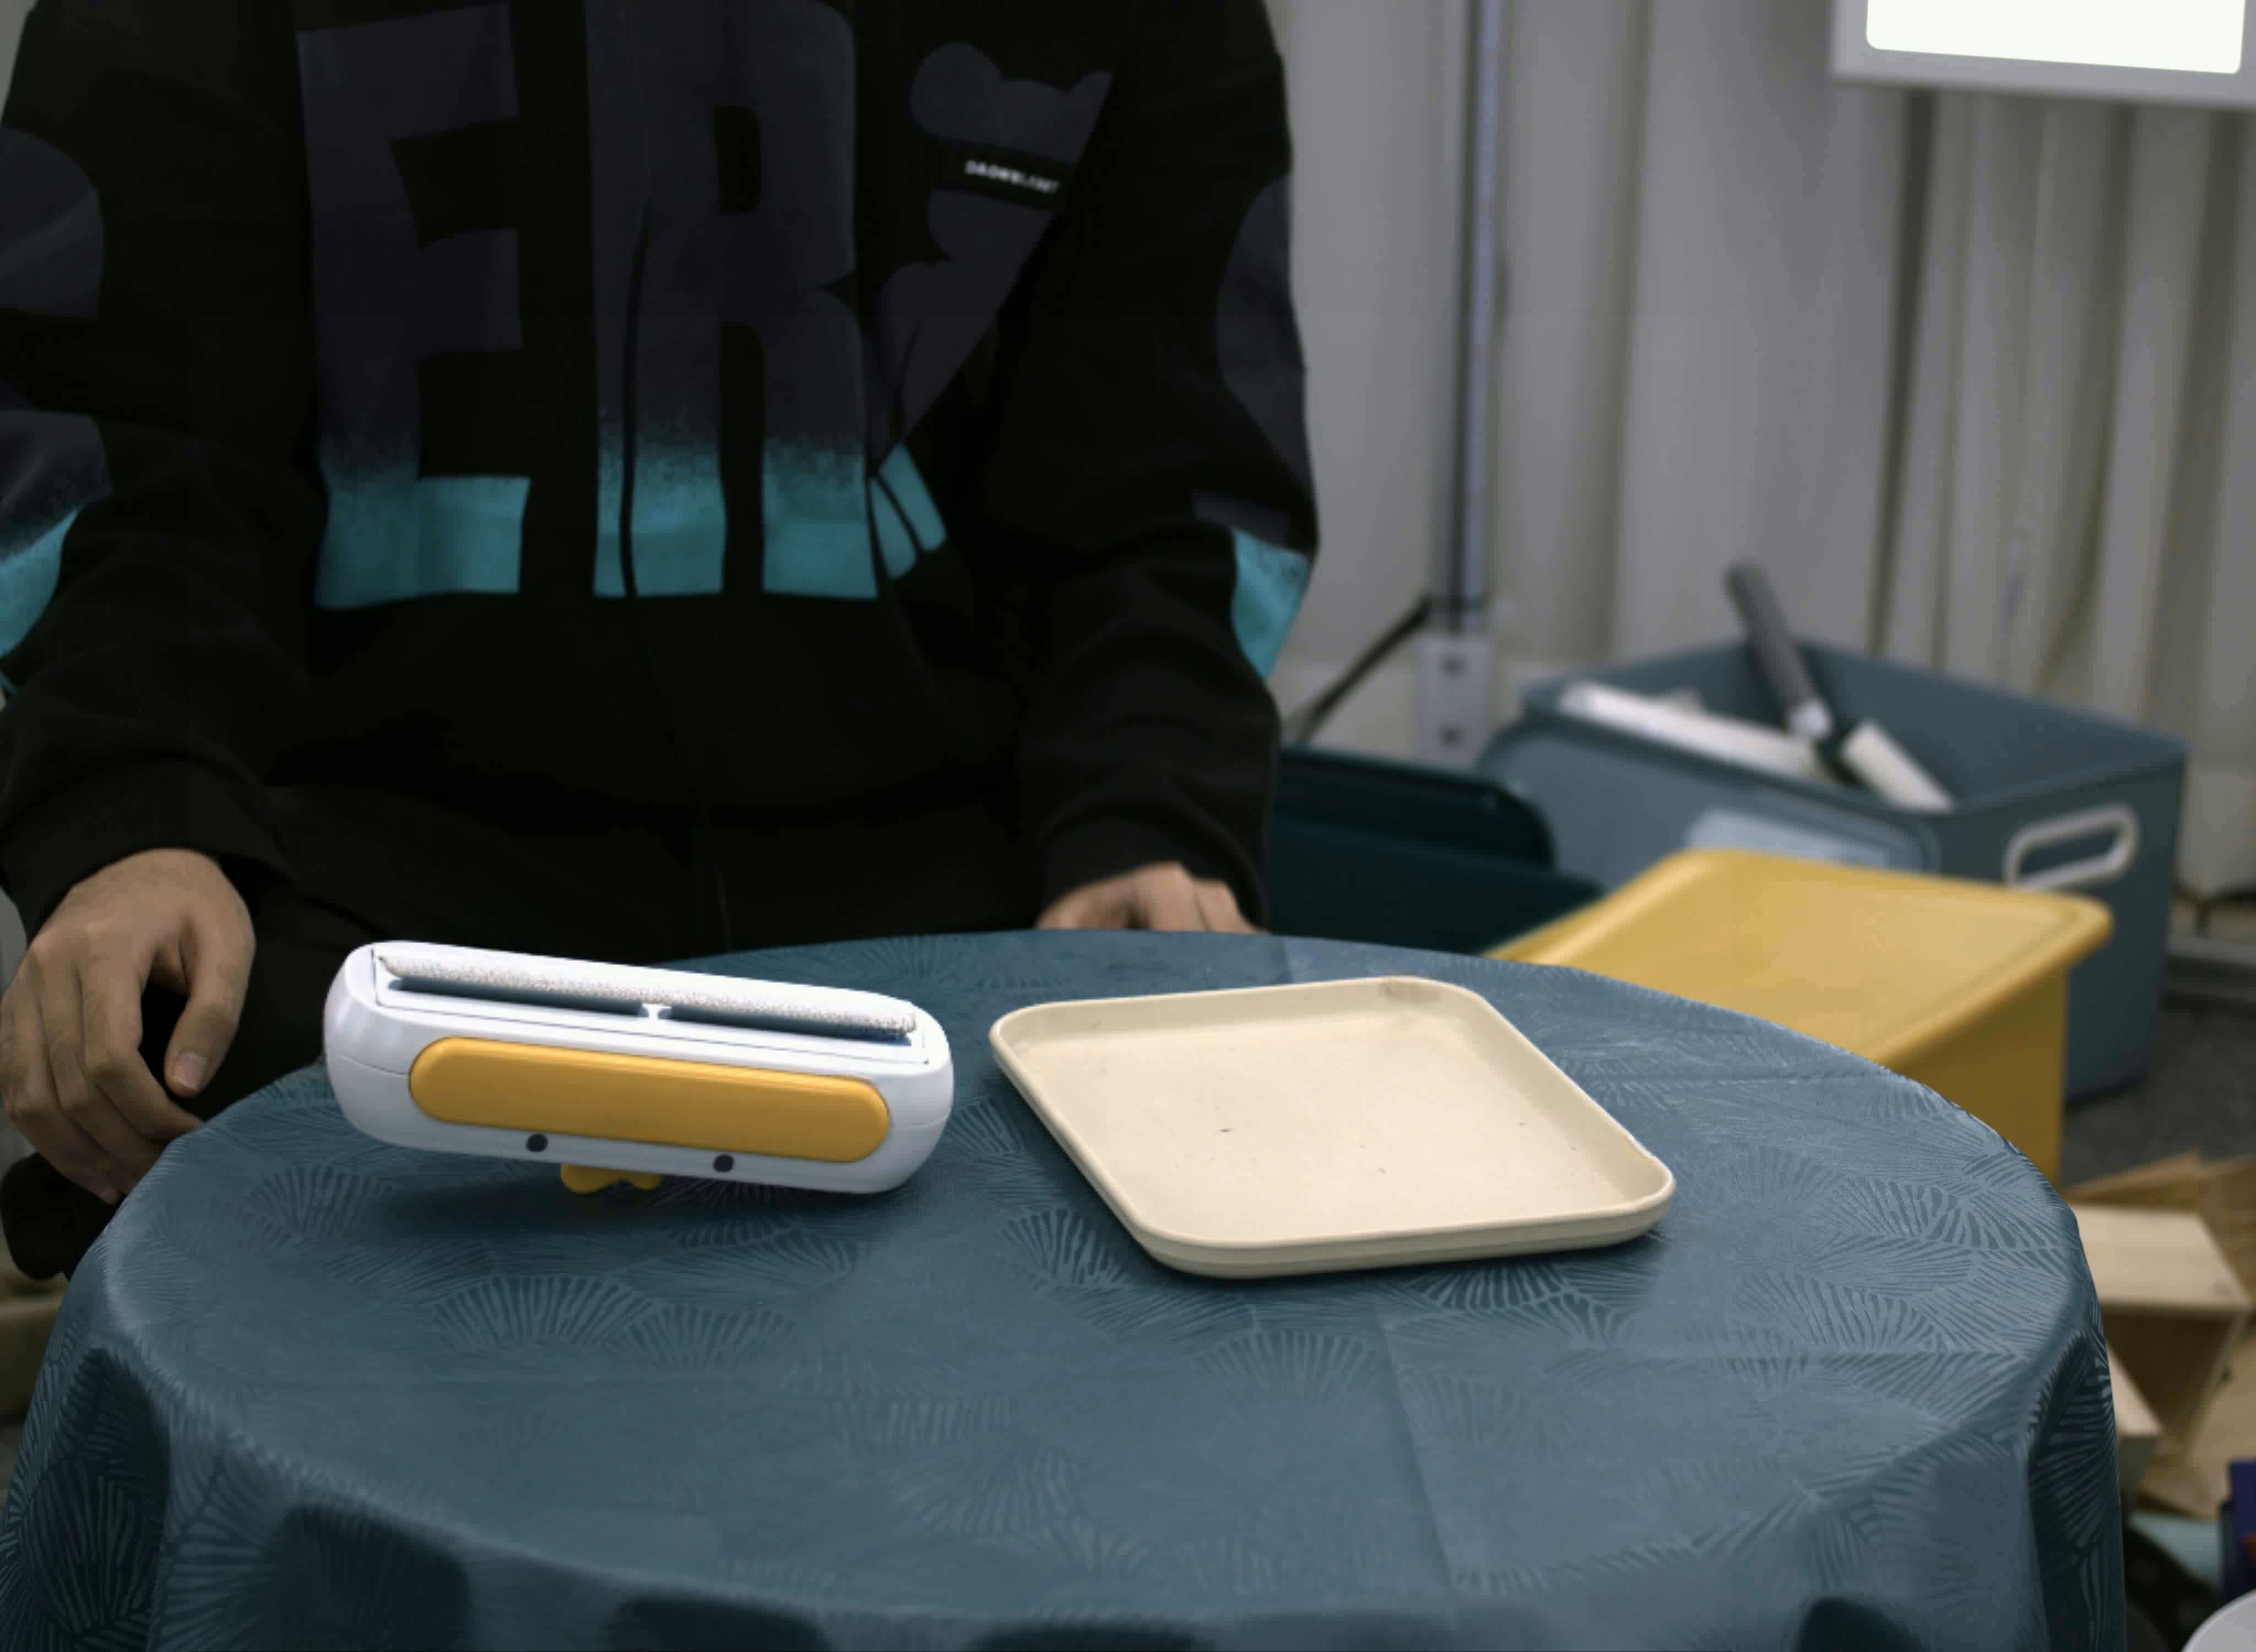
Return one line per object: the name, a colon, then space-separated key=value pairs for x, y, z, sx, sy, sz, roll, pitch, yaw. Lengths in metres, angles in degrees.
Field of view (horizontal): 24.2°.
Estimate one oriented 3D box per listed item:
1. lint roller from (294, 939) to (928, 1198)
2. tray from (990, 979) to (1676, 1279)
lint roller: x=-0.165 y=0.066 z=1.656 sx=0.193 sy=0.075 sz=0.191 roll=3 pitch=13 yaw=-9
tray: x=0.060 y=0.094 z=1.656 sx=0.171 sy=0.017 sz=0.237 roll=-4 pitch=16 yaw=-14
